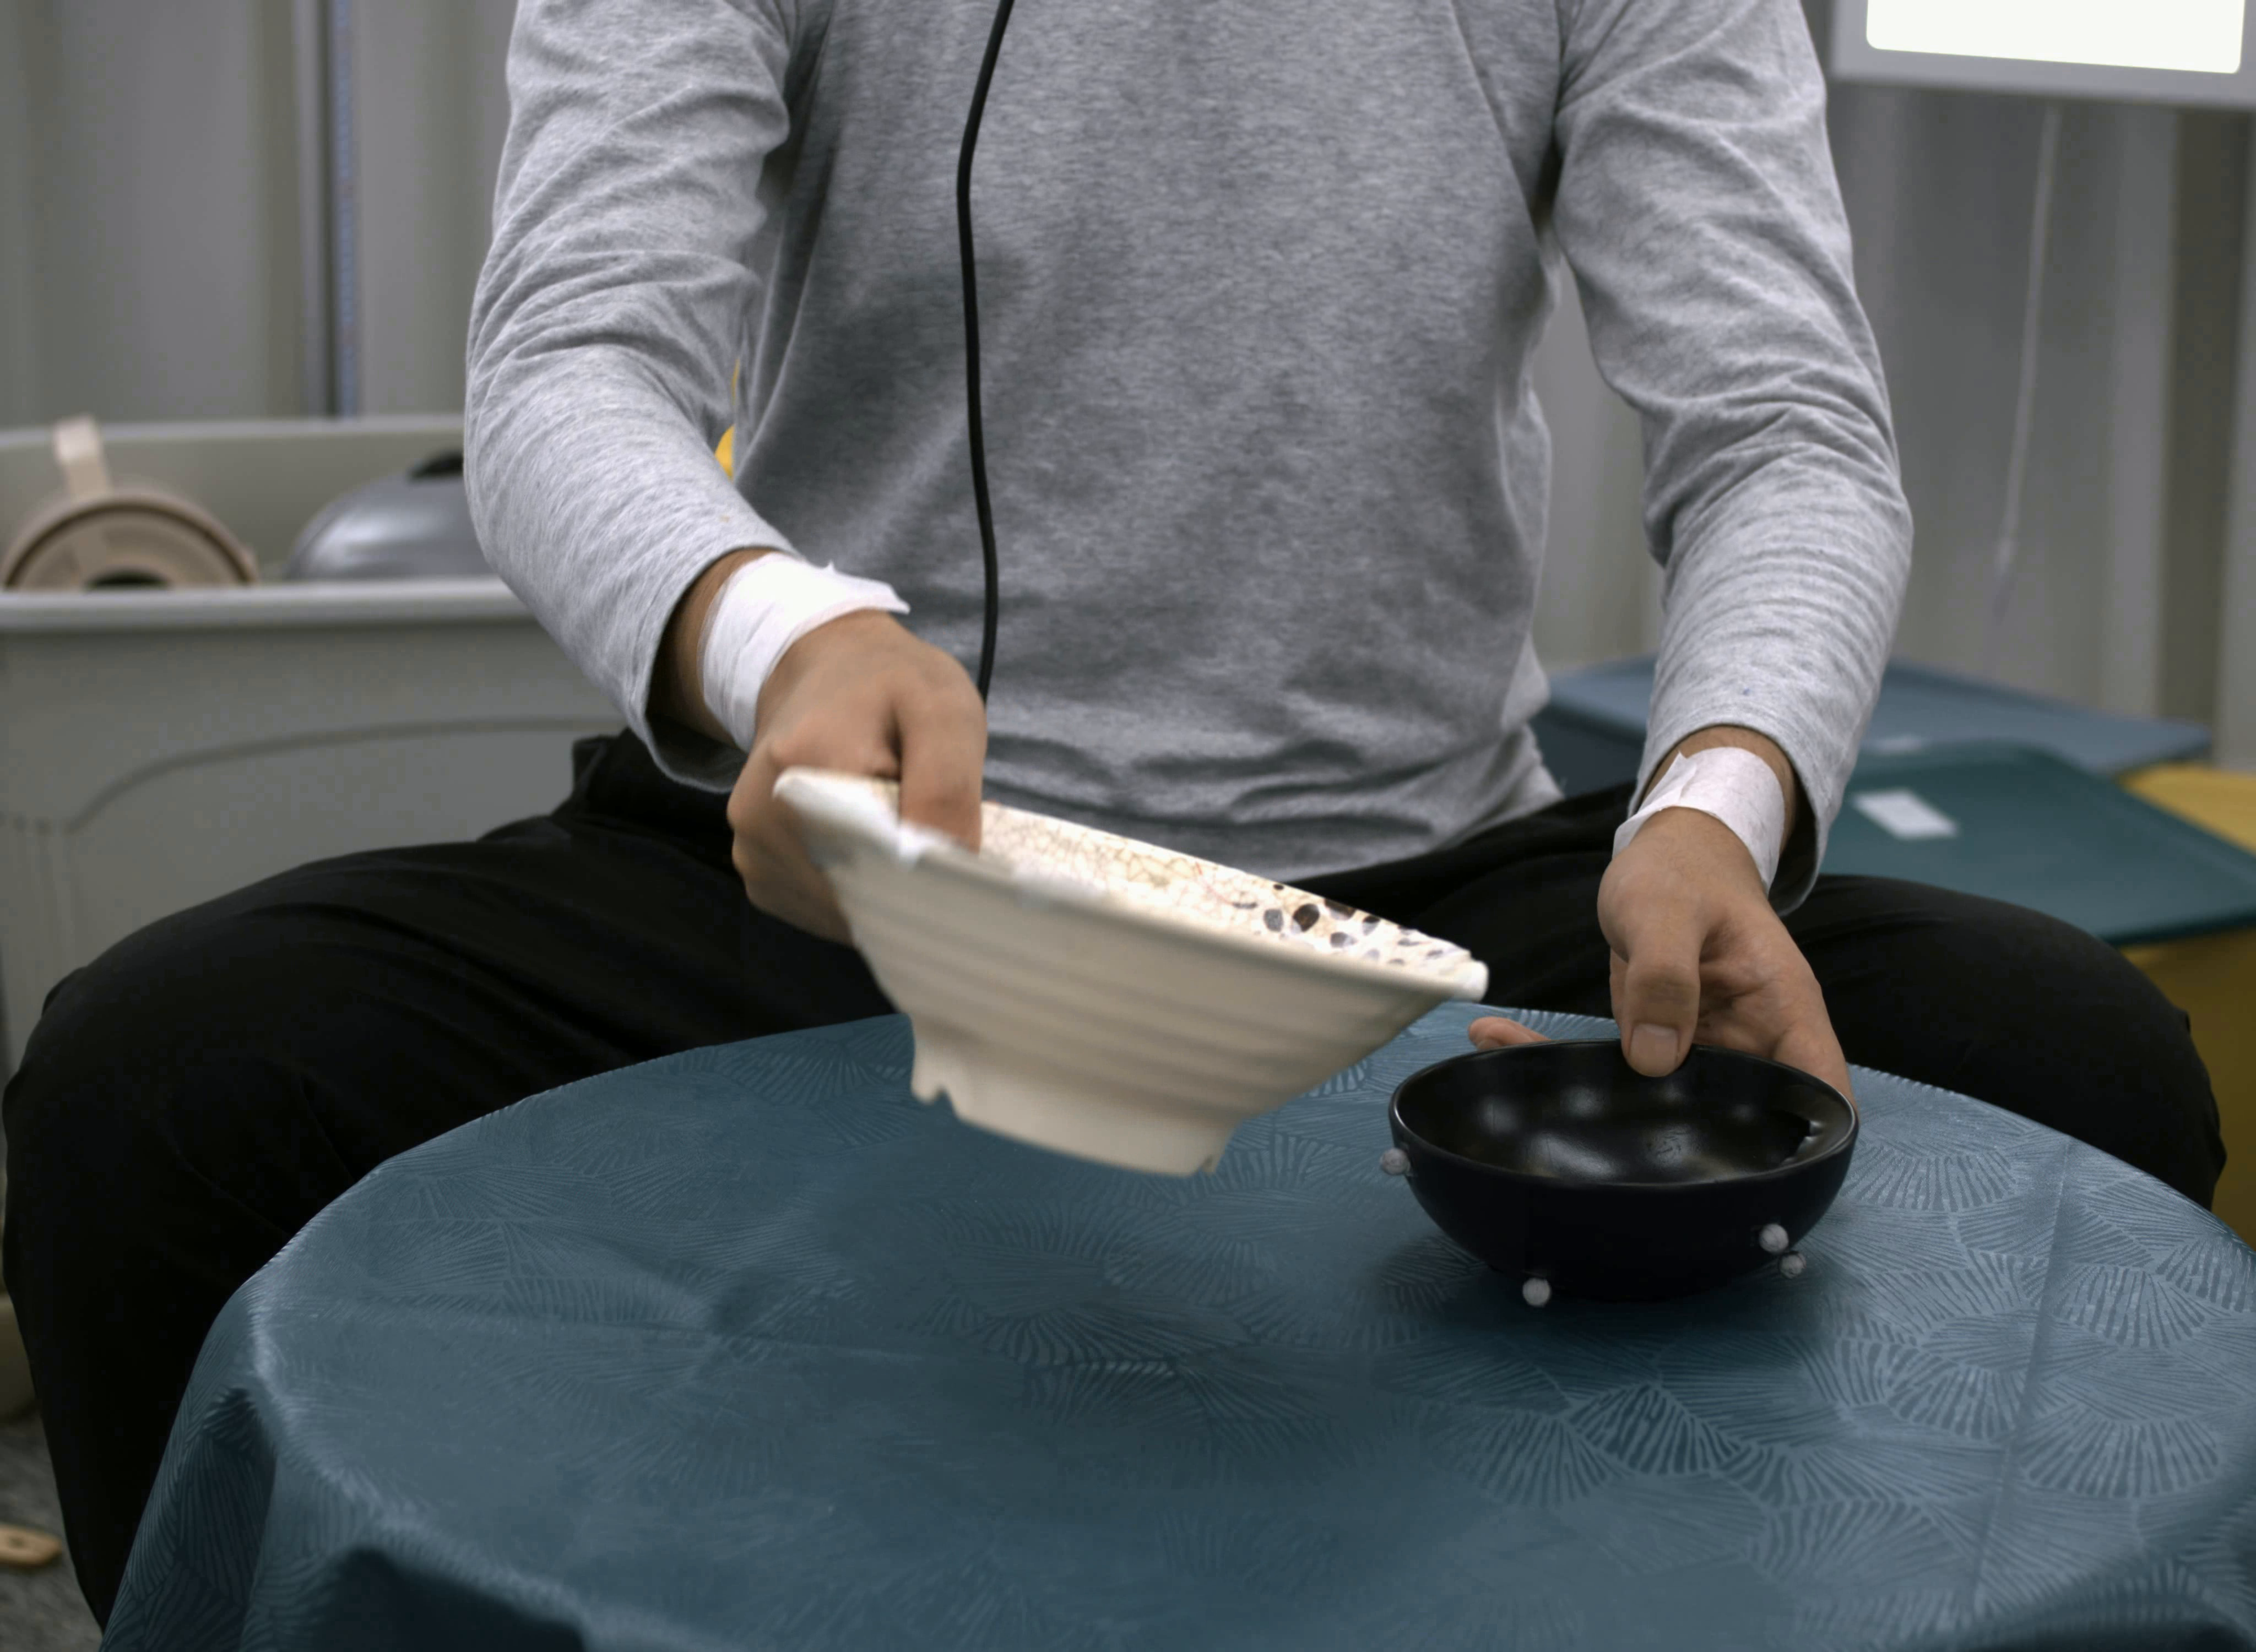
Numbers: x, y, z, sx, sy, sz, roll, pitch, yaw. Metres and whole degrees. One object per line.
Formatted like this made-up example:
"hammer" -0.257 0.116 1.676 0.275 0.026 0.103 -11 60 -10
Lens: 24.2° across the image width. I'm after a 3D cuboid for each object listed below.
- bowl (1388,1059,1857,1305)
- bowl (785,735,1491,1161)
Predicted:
"bowl" 0.145 0.109 1.560 0.139 0.050 0.139 2 11 0
"bowl" -0.008 0.042 1.442 0.203 0.078 0.204 18 3 0
